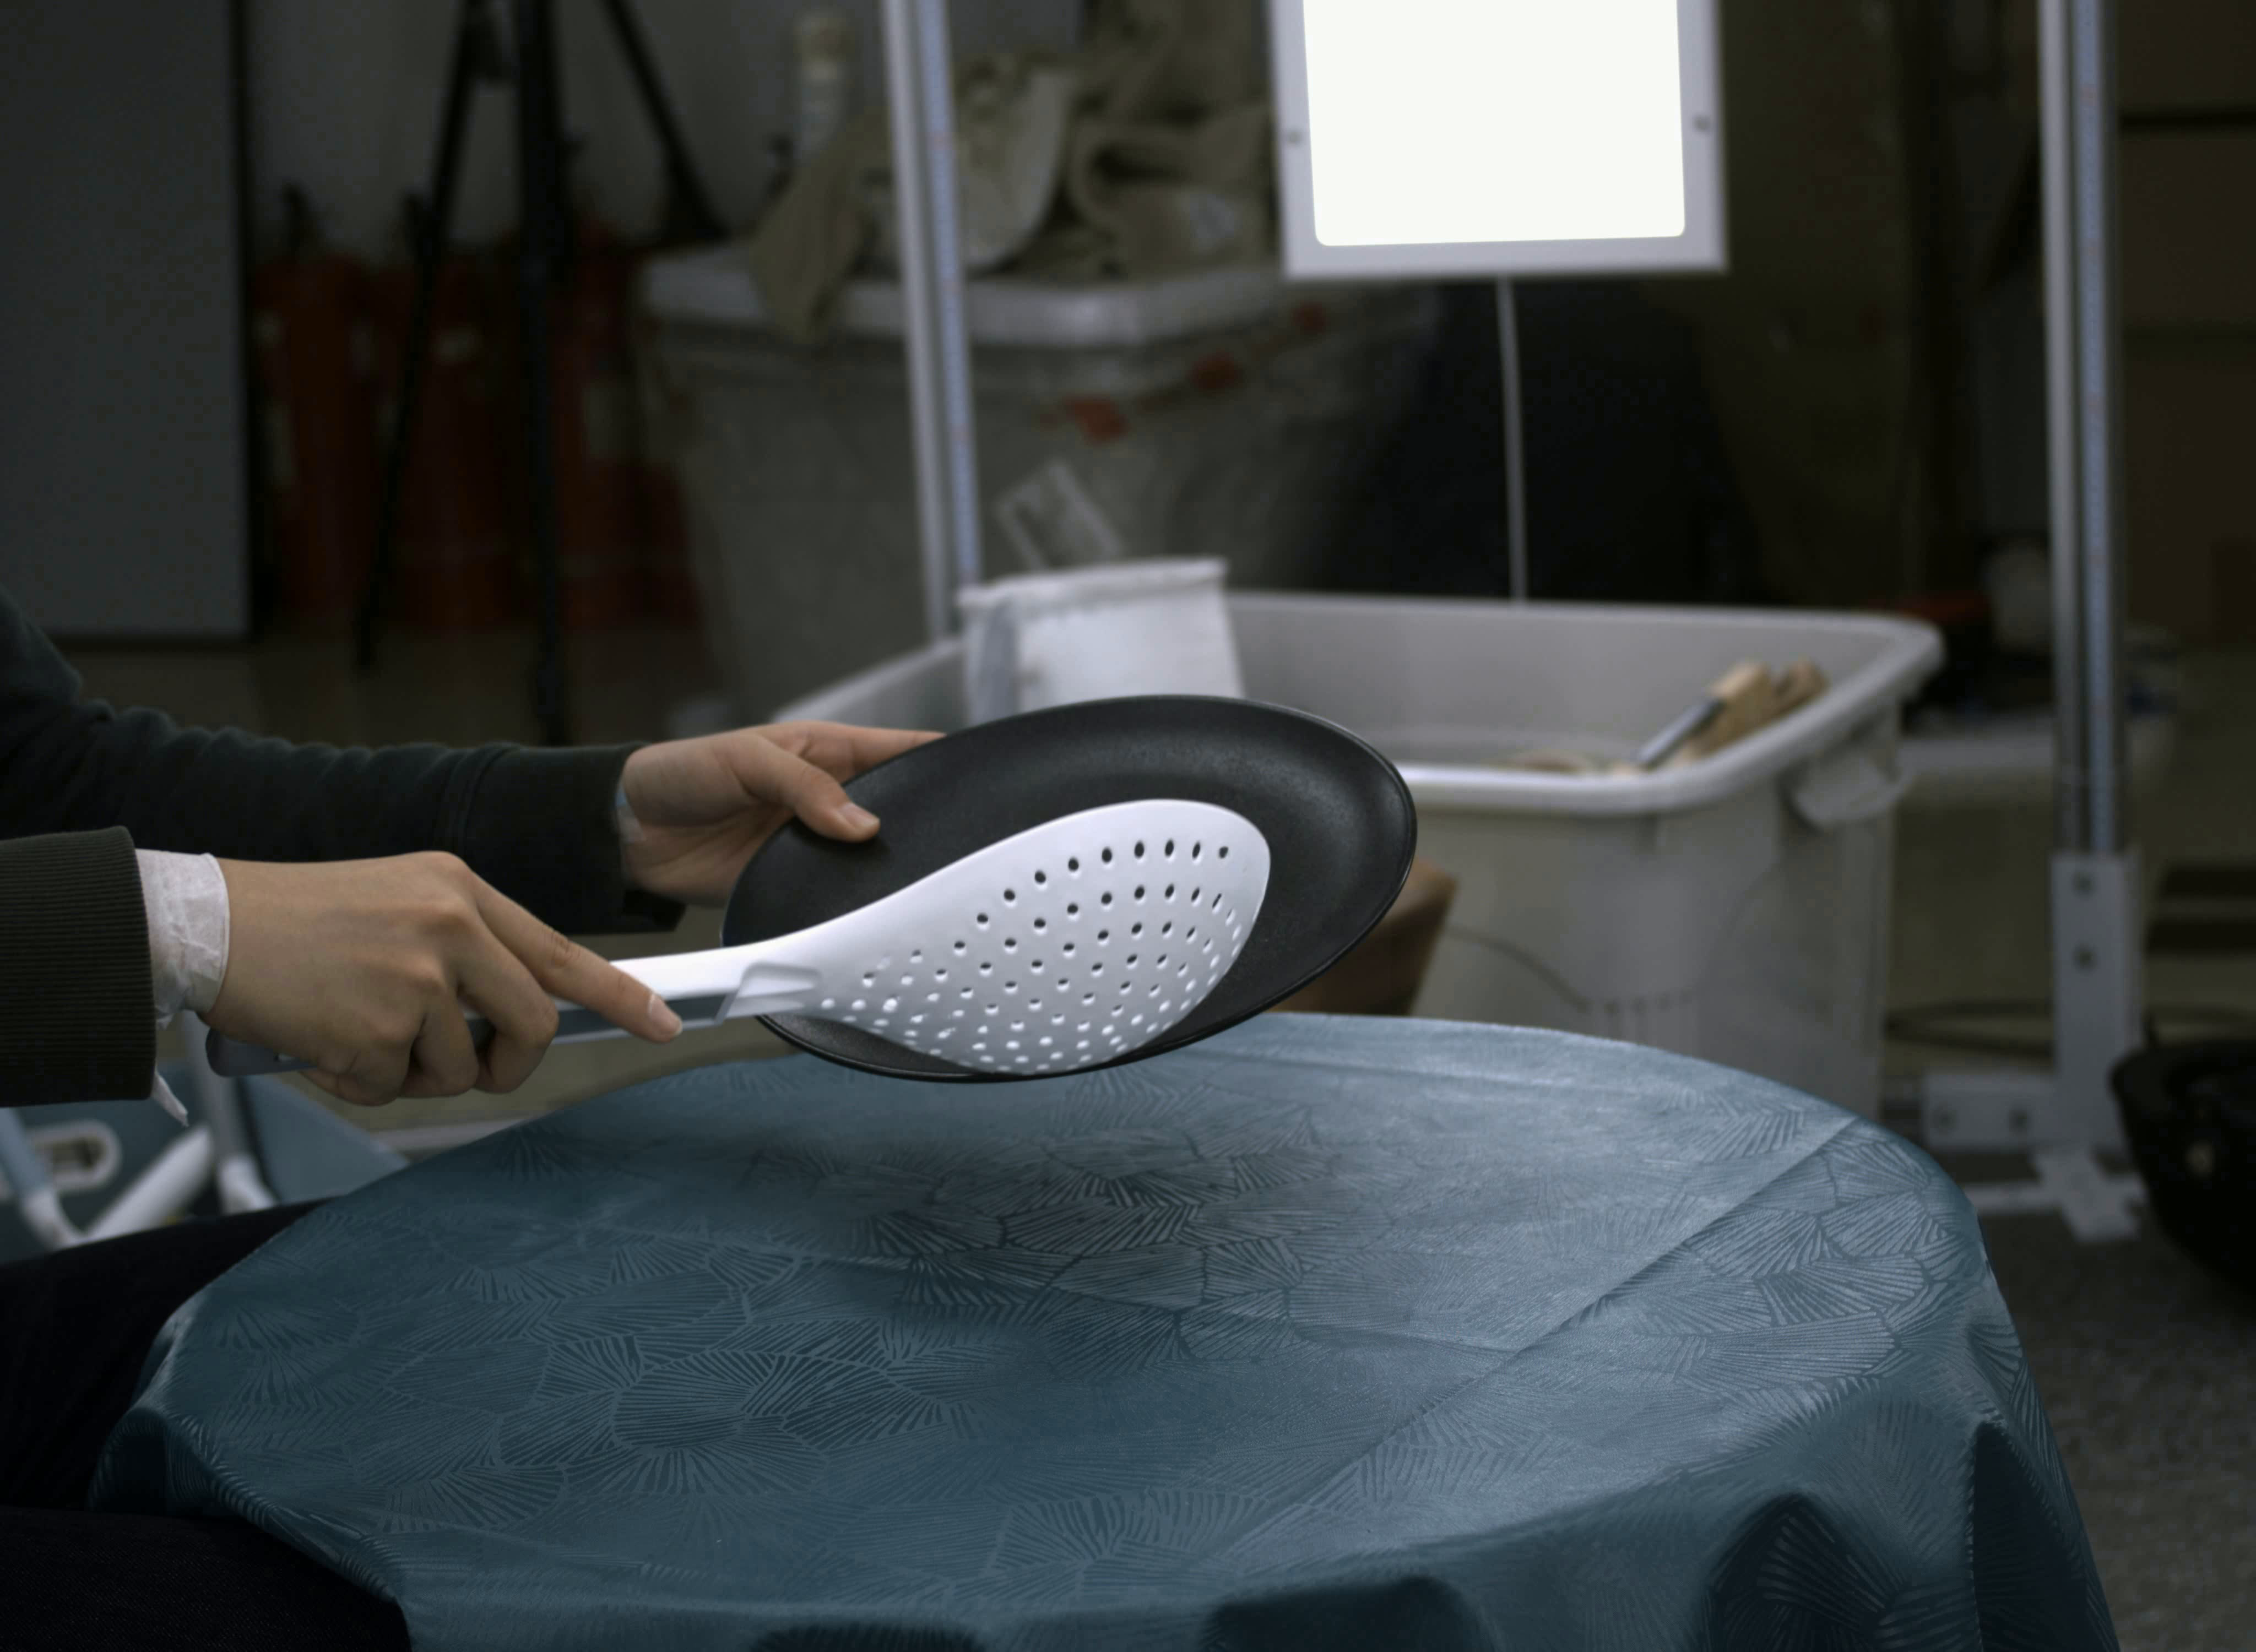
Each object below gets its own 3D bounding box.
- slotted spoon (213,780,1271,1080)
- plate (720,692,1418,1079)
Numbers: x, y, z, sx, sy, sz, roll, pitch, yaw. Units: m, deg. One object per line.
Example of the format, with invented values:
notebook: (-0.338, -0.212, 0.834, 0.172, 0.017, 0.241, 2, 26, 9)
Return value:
slotted spoon: (-0.111, 0.044, 1.694, 0.343, 0.138, 0.046, -2, 54, -22)
plate: (-0.019, 0.025, 1.884, 0.245, 0.023, 0.244, -11, 30, 5)
